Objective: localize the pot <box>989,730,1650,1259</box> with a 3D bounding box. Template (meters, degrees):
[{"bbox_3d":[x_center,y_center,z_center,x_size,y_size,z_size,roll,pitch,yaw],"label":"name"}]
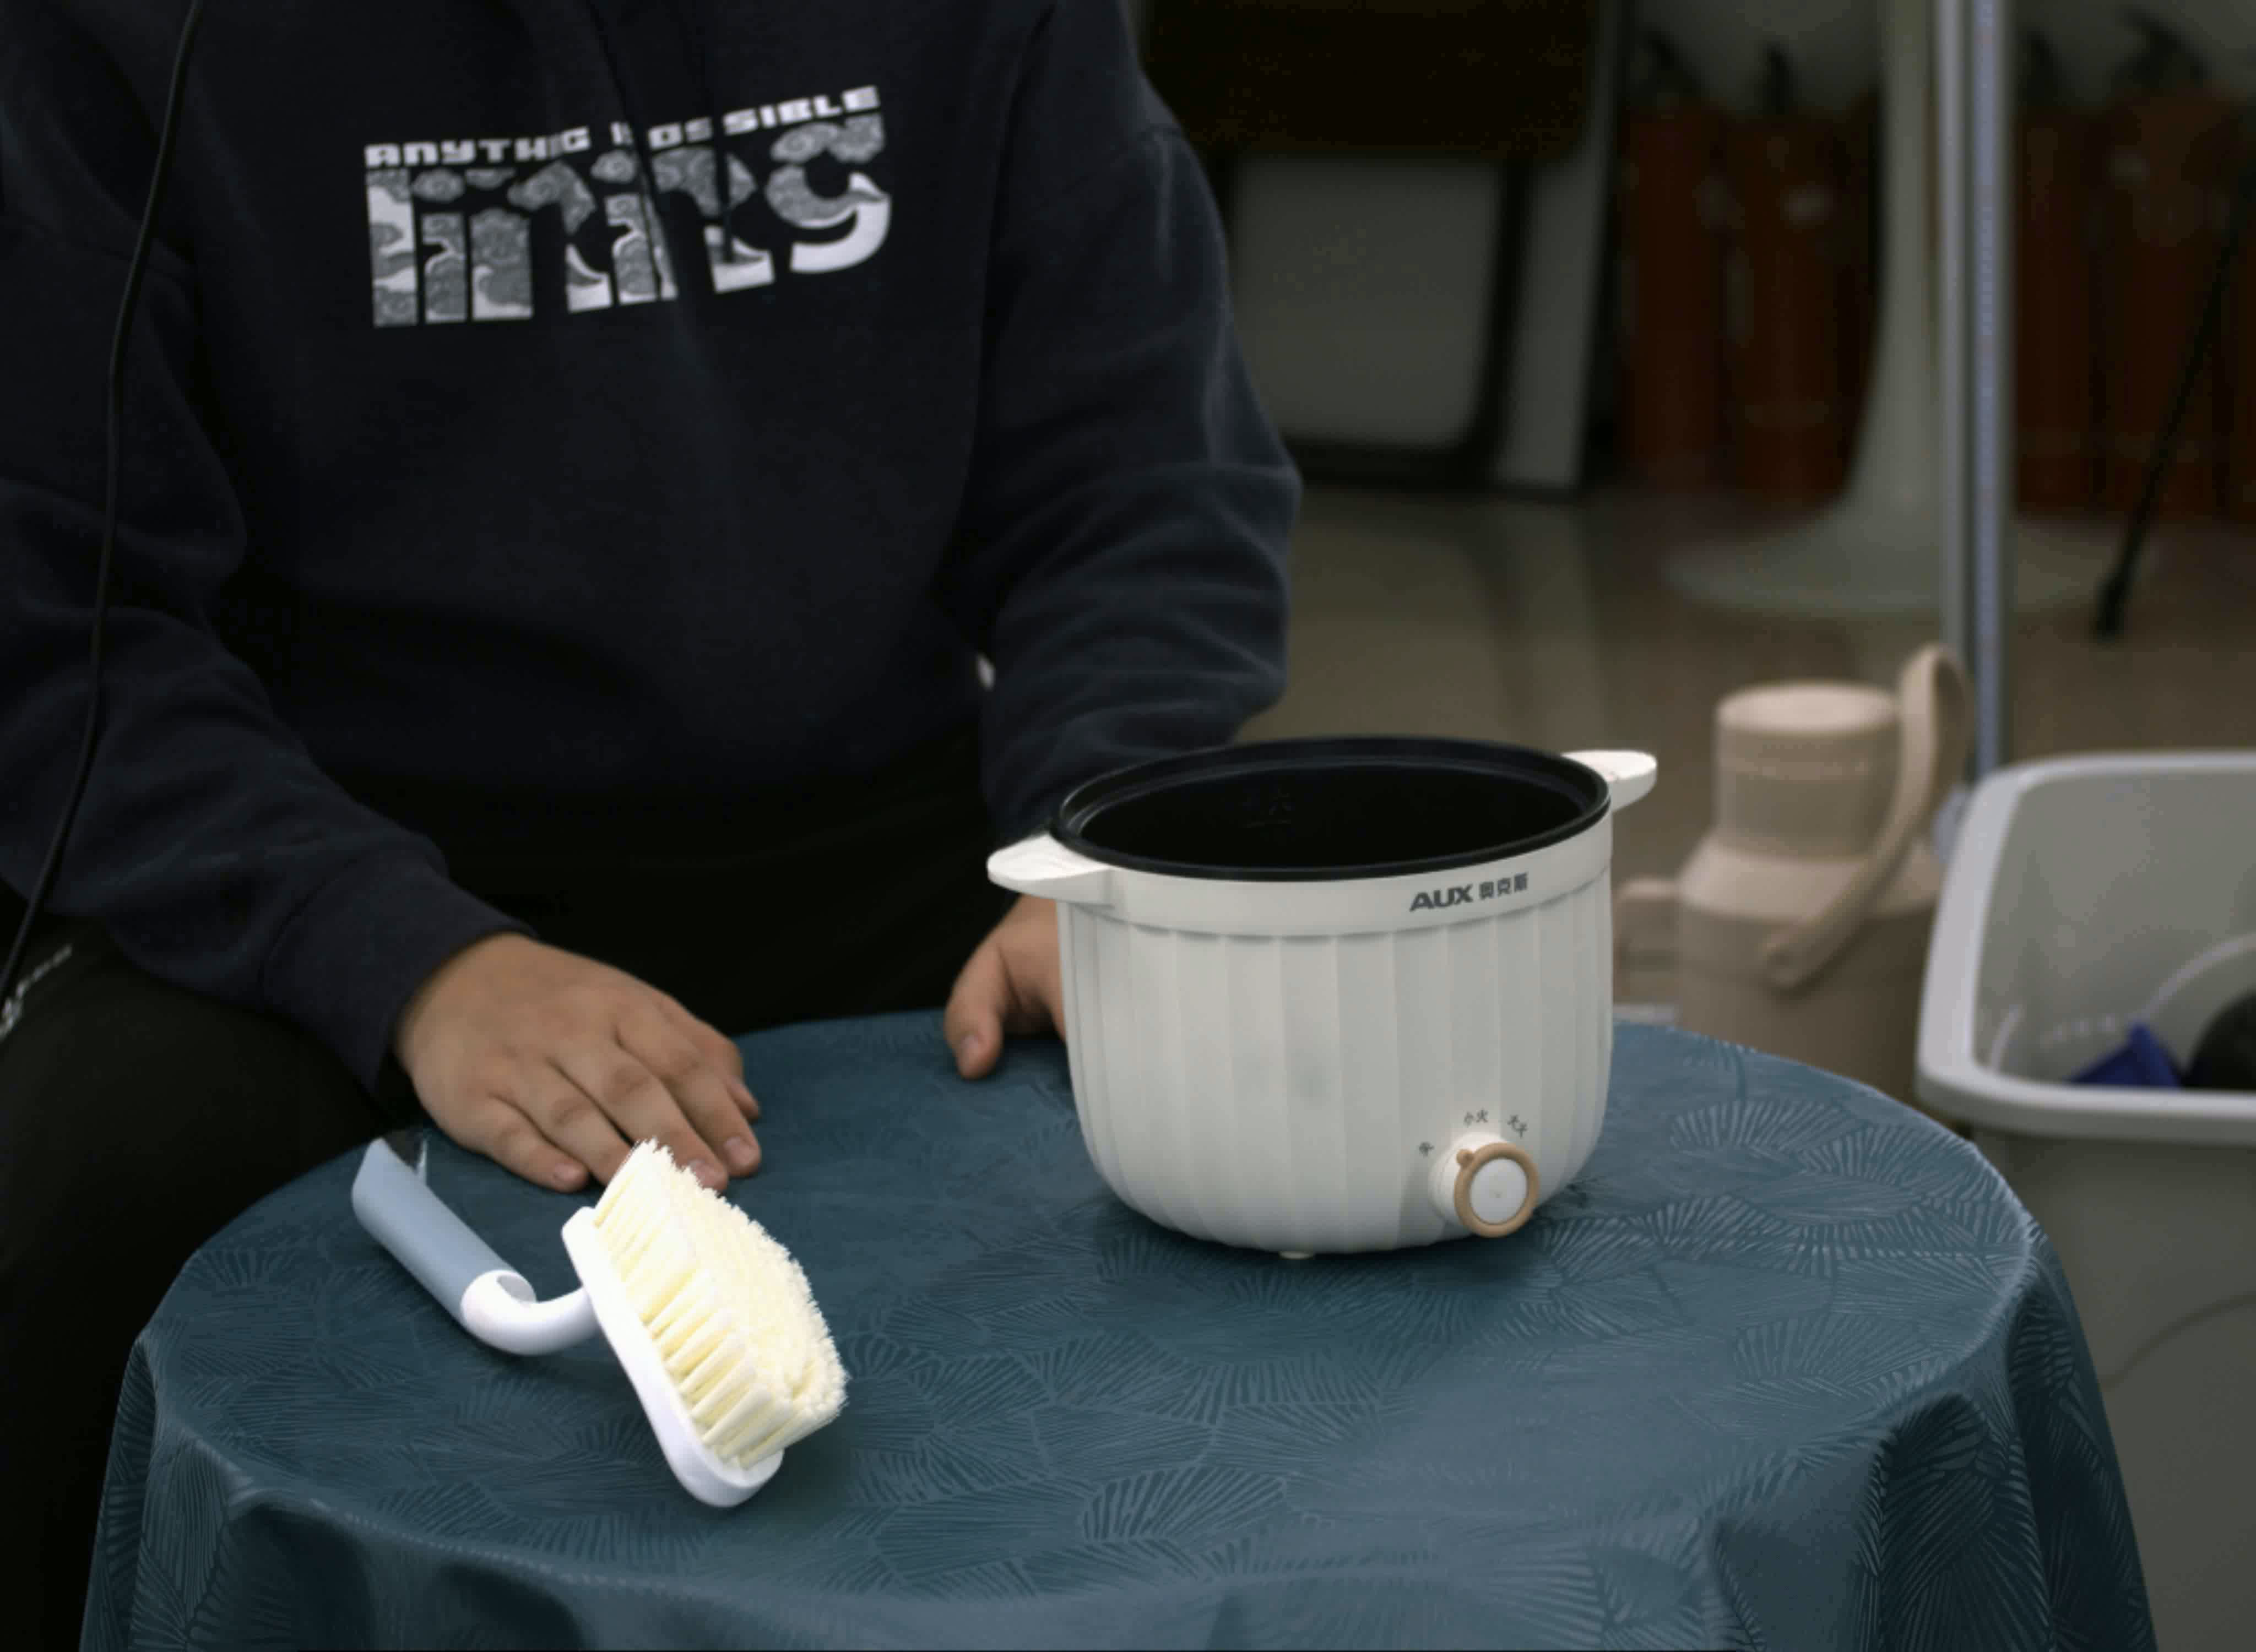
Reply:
[{"bbox_3d":[0.071,0.055,1.730,0.235,0.144,0.192,-11,12,-24],"label":"pot"}]

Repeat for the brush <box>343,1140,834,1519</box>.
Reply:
[{"bbox_3d":[-0.164,0.122,1.642,0.083,0.084,0.329,-16,19,-20],"label":"brush"}]
